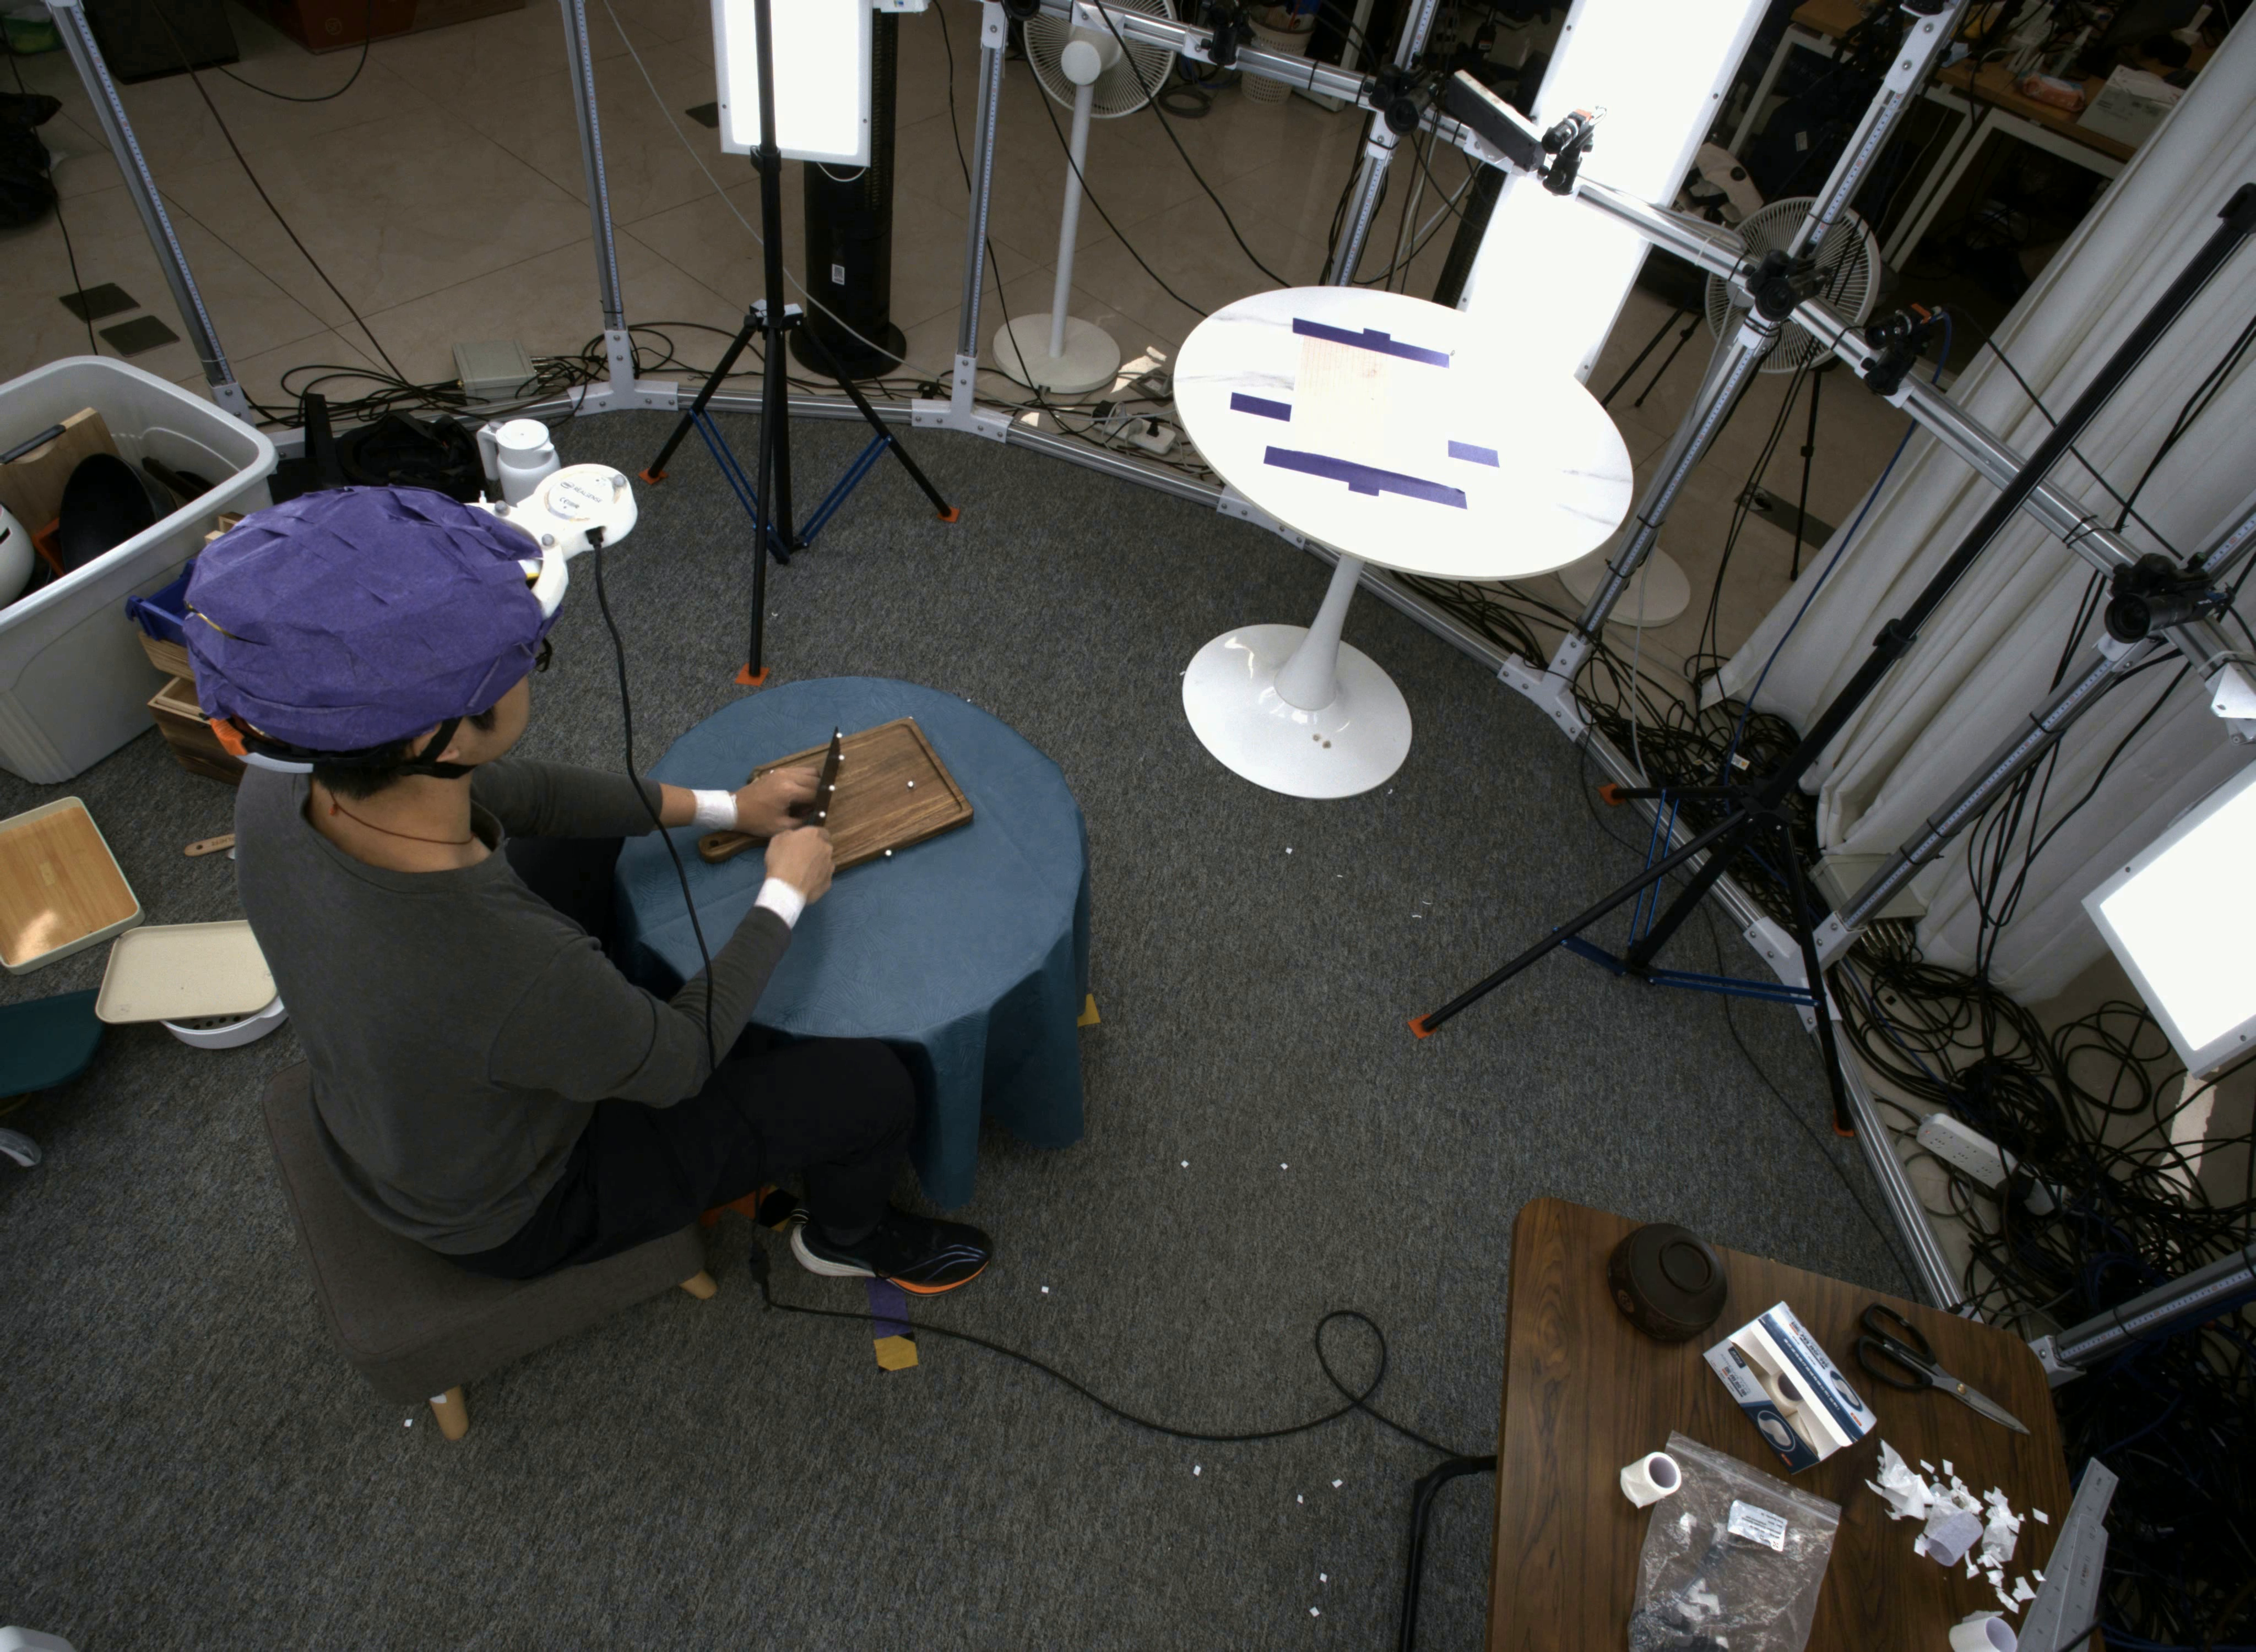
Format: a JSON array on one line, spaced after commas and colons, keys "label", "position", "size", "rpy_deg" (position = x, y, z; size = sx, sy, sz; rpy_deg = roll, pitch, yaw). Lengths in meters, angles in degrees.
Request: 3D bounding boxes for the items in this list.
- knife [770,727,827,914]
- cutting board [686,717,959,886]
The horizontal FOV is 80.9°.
[{"label": "knife", "position": [-0.418, -0.007, 1.664], "size": [0.020, 0.083, 0.296], "rpy_deg": [4, 44, -1]}, {"label": "cutting board", "position": [-0.424, -0.023, 1.738], "size": [0.354, 0.023, 0.196], "rpy_deg": [-24, 62, -28]}]
